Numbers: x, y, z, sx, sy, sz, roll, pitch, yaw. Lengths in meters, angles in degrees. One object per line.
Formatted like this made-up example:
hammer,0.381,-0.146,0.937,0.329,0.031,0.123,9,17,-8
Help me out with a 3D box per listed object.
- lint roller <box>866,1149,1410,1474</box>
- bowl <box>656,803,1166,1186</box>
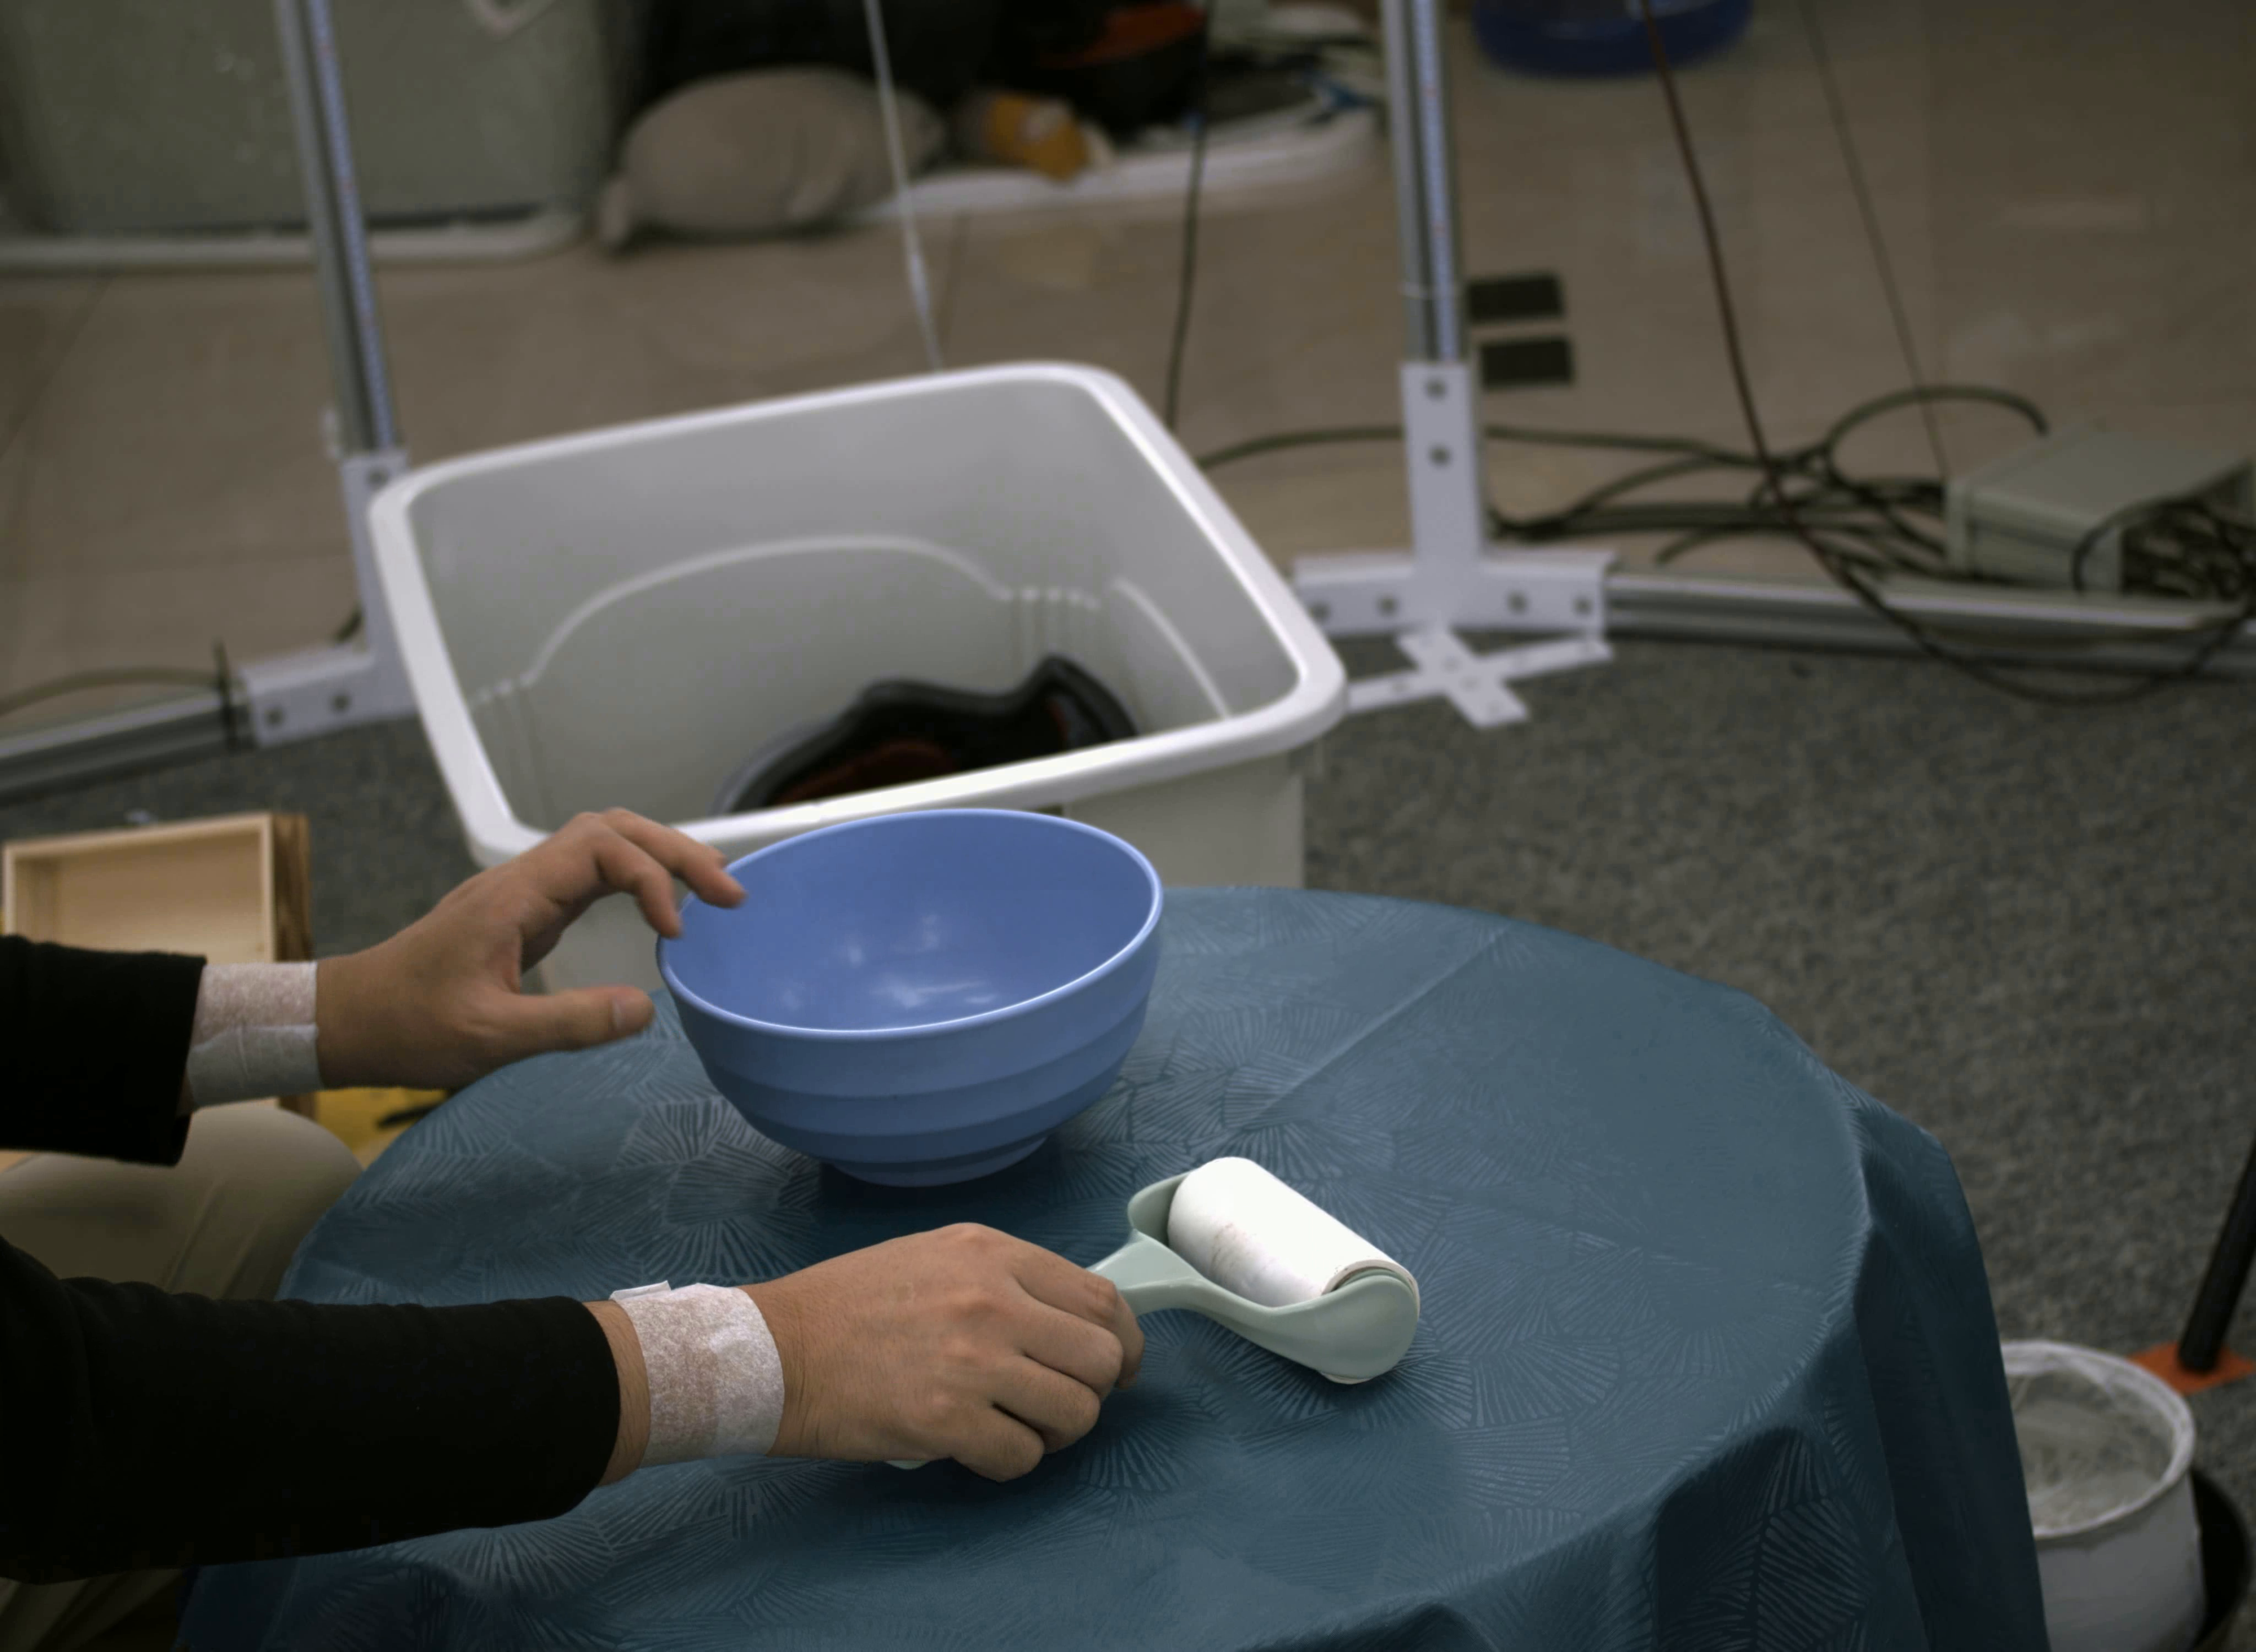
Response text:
lint roller,-0.008,0.175,2.009,0.196,0.049,0.115,-17,29,-26
bowl,-0.079,0.076,2.187,0.196,0.097,0.193,-5,26,2
